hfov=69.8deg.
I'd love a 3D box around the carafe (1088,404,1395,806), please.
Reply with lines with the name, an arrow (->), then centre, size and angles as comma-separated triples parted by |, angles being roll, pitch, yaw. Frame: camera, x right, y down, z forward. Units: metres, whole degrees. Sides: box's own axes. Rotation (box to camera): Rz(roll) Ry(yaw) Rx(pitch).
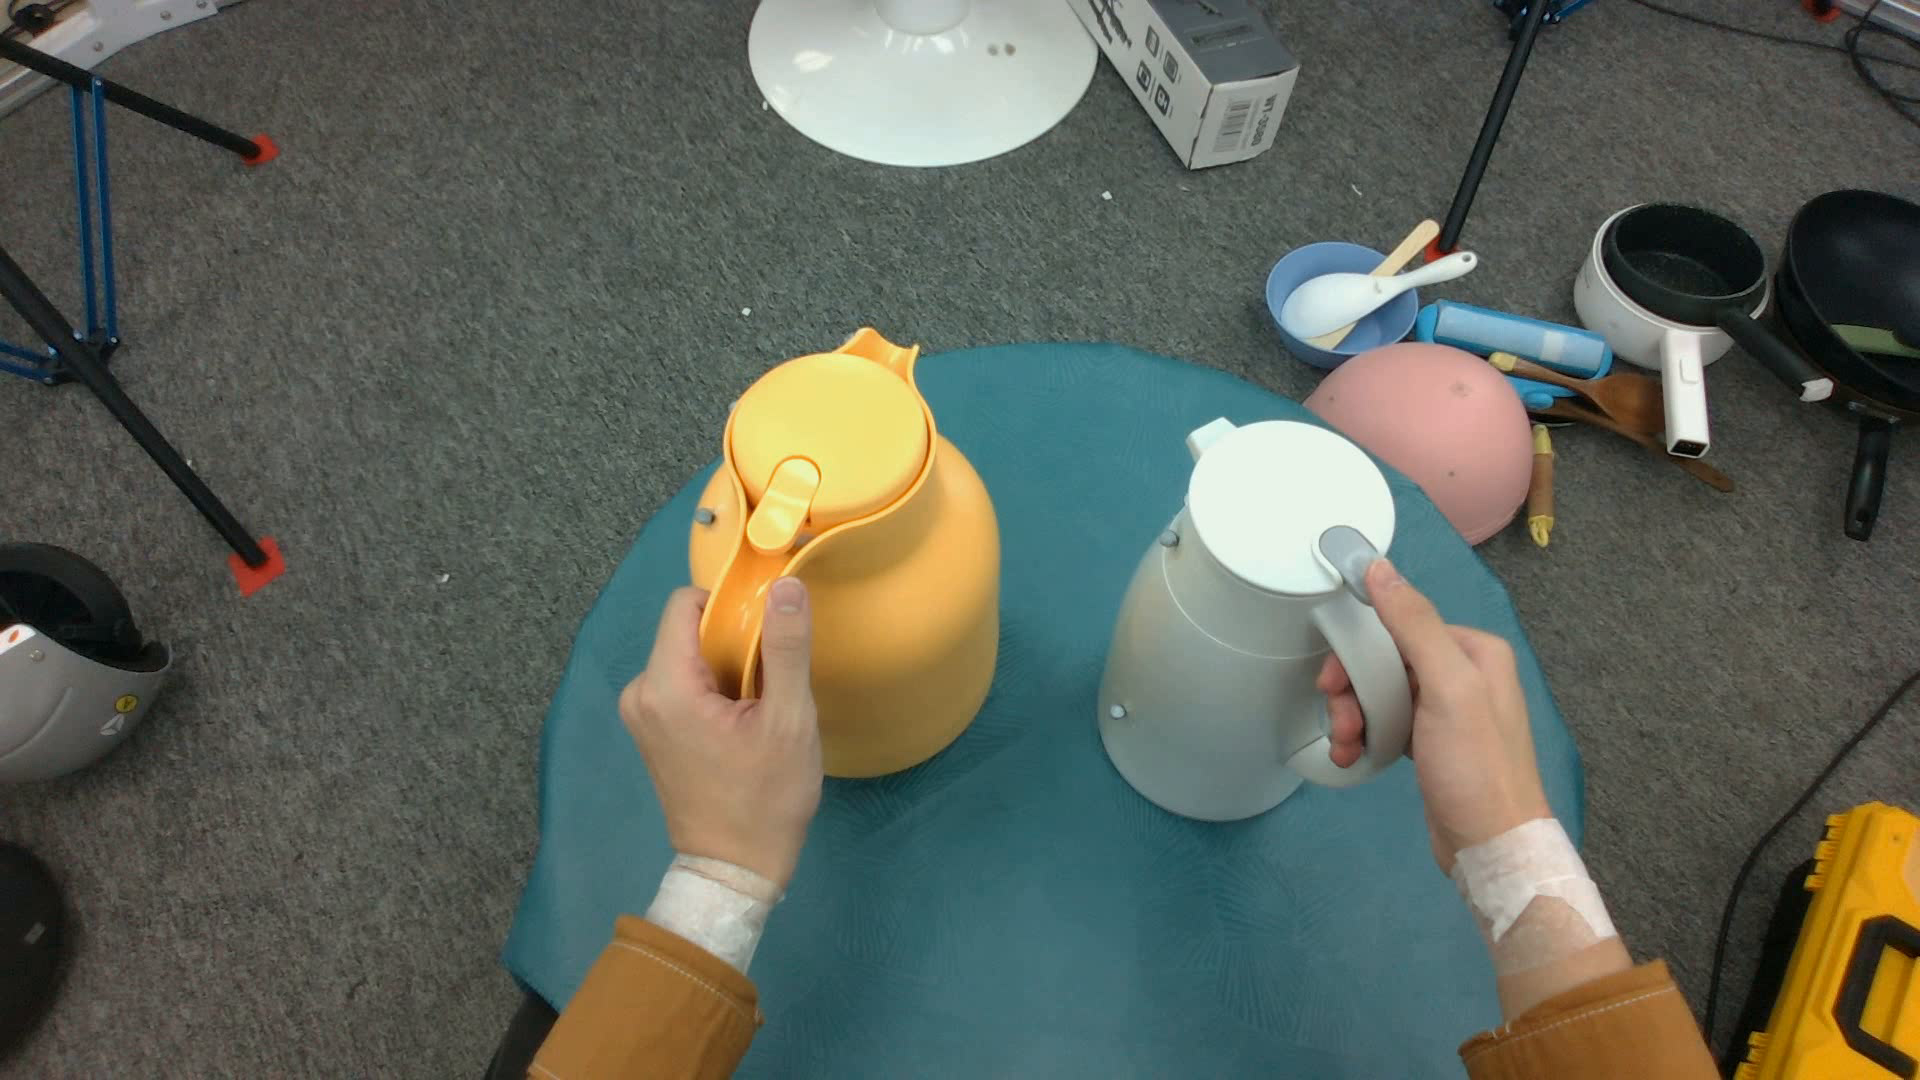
carafe -> 0.152, 0.049, 0.708 | 0.133, 0.247, 0.168 | -27, 64, -15

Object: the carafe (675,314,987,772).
carafe -> -0.076, 0.021, 0.713 | 0.163, 0.259, 0.203 | 21, 60, 13
